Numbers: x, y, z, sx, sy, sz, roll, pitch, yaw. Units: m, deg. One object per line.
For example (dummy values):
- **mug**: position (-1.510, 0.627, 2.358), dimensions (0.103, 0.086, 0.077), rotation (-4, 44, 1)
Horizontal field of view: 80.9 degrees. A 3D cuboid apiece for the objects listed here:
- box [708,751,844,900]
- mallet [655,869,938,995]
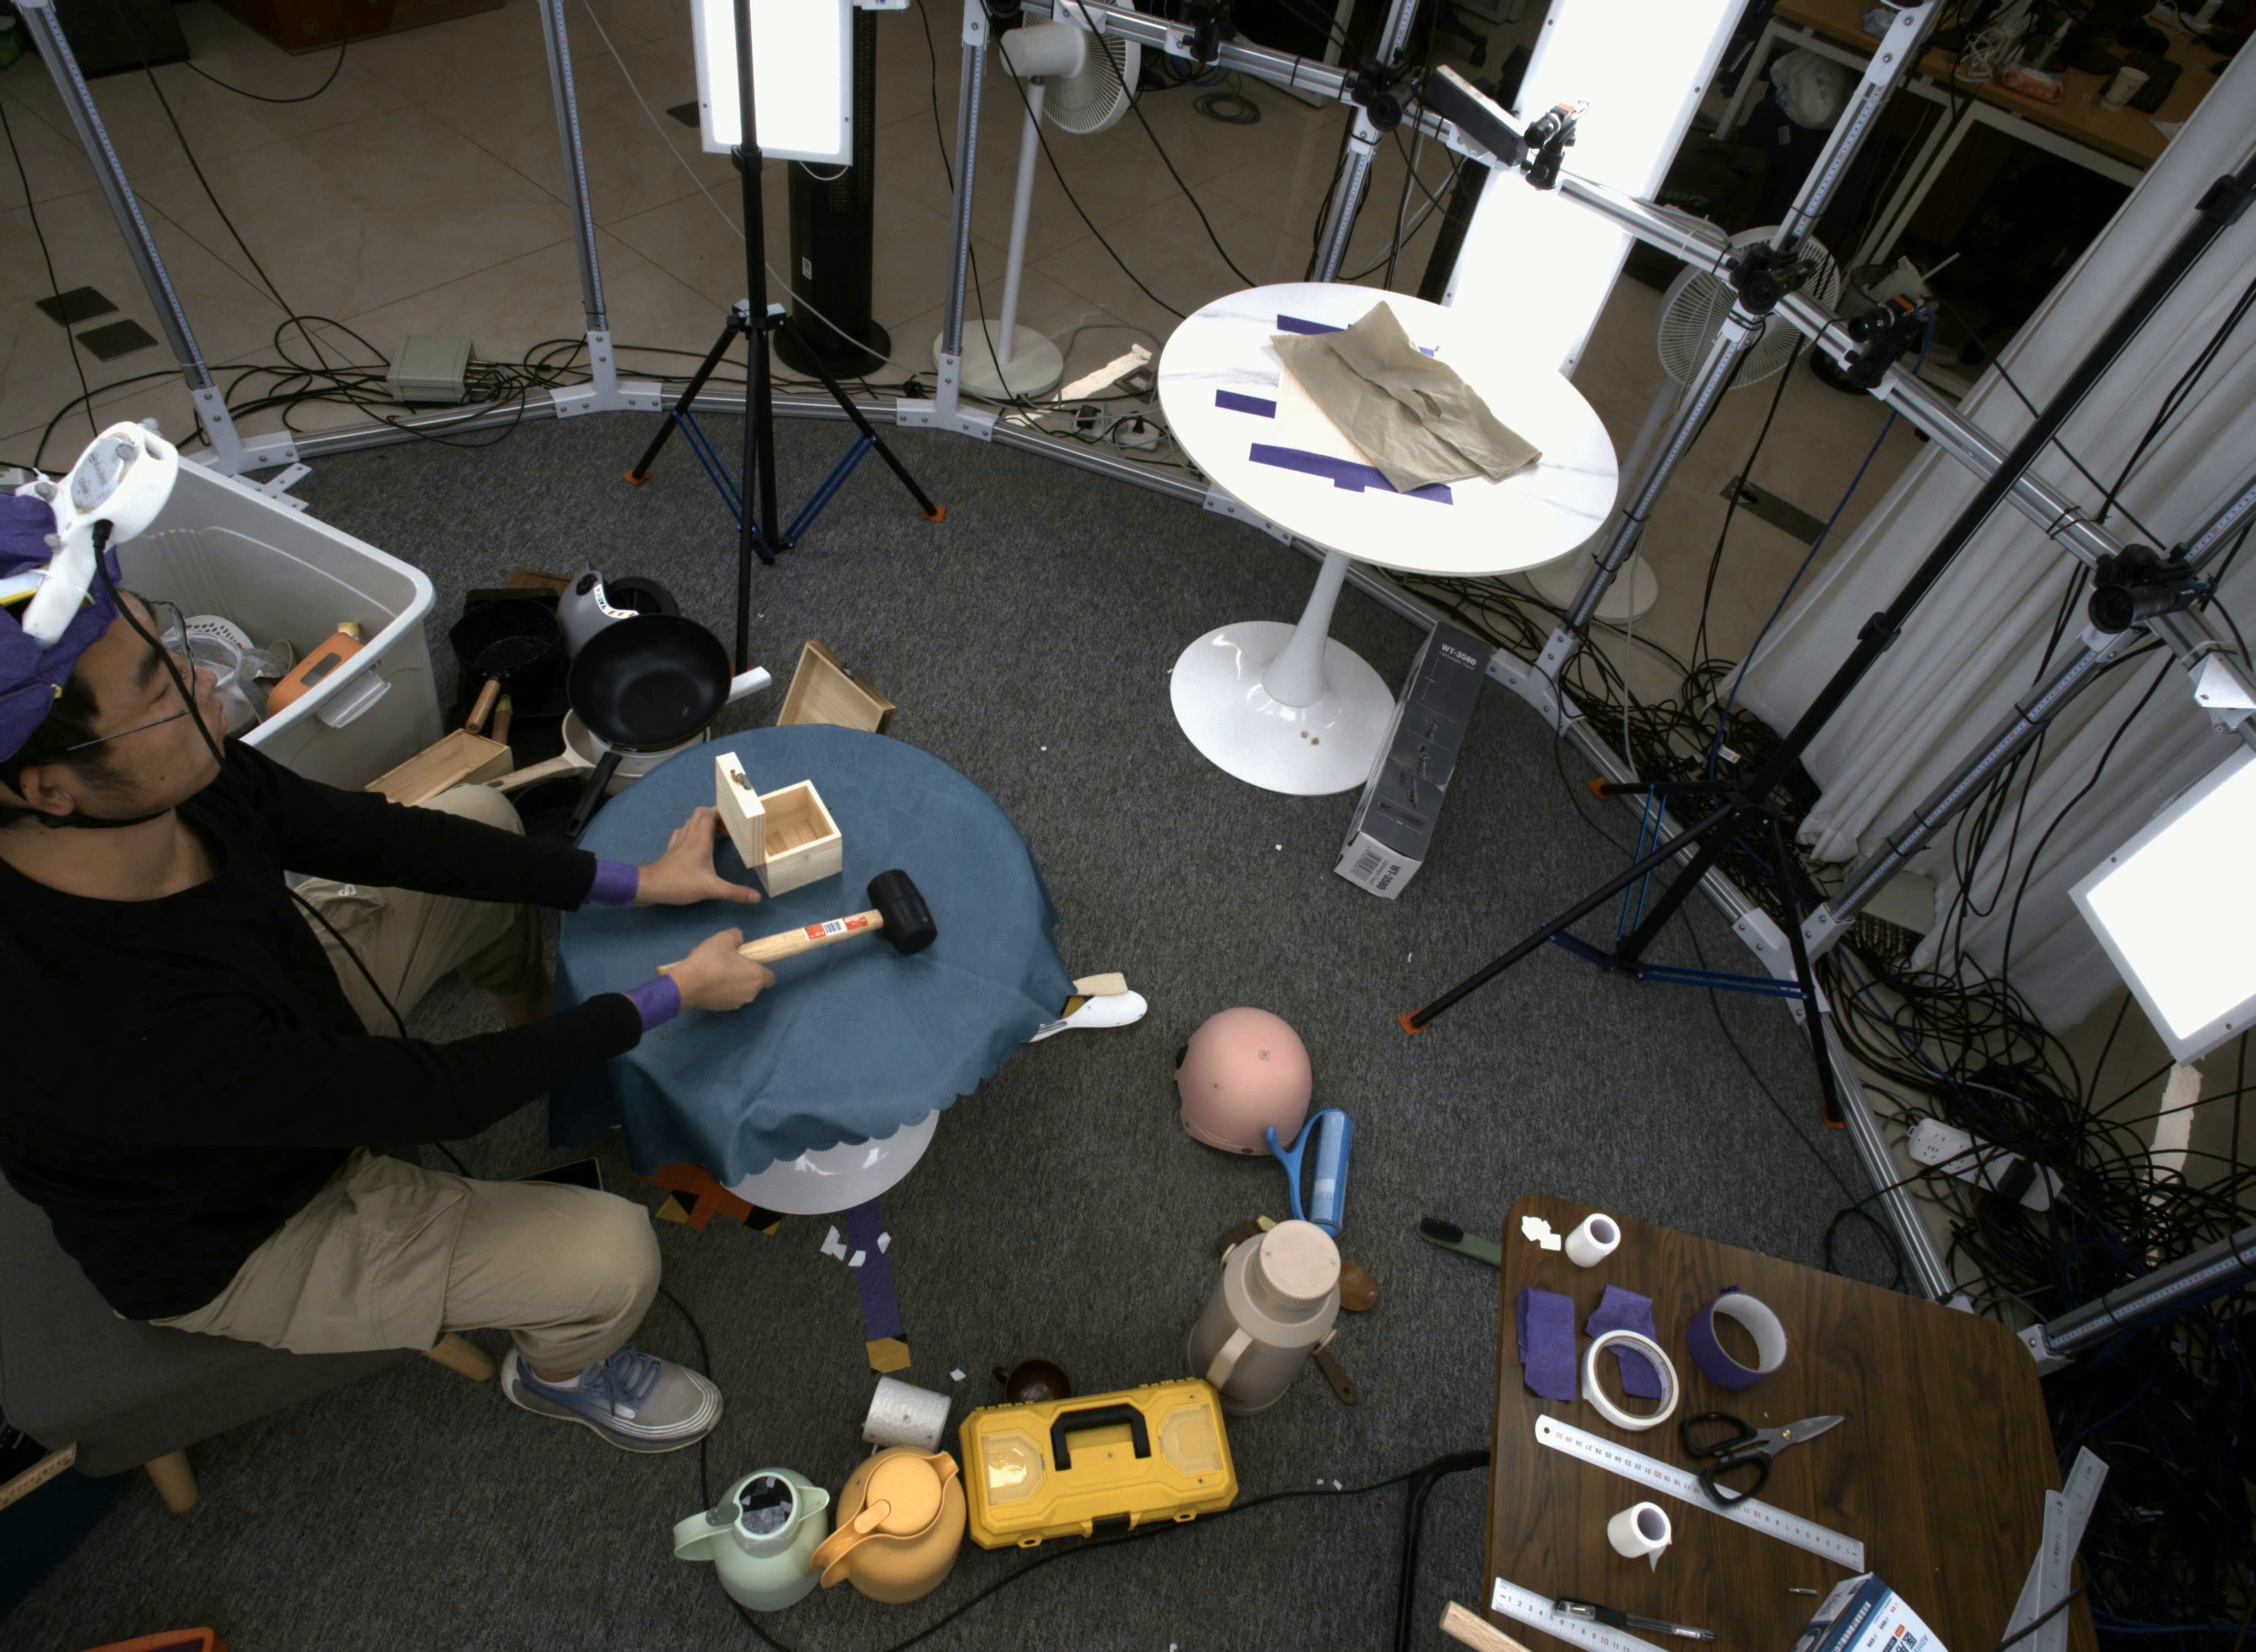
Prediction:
- **box**: position (-0.435, -0.014, 1.612), dimensions (0.134, 0.189, 0.100), rotation (-24, 60, -24)
- **mallet**: position (-0.396, 0.133, 1.559), dimensions (0.342, 0.065, 0.099), rotation (-13, 54, -34)
